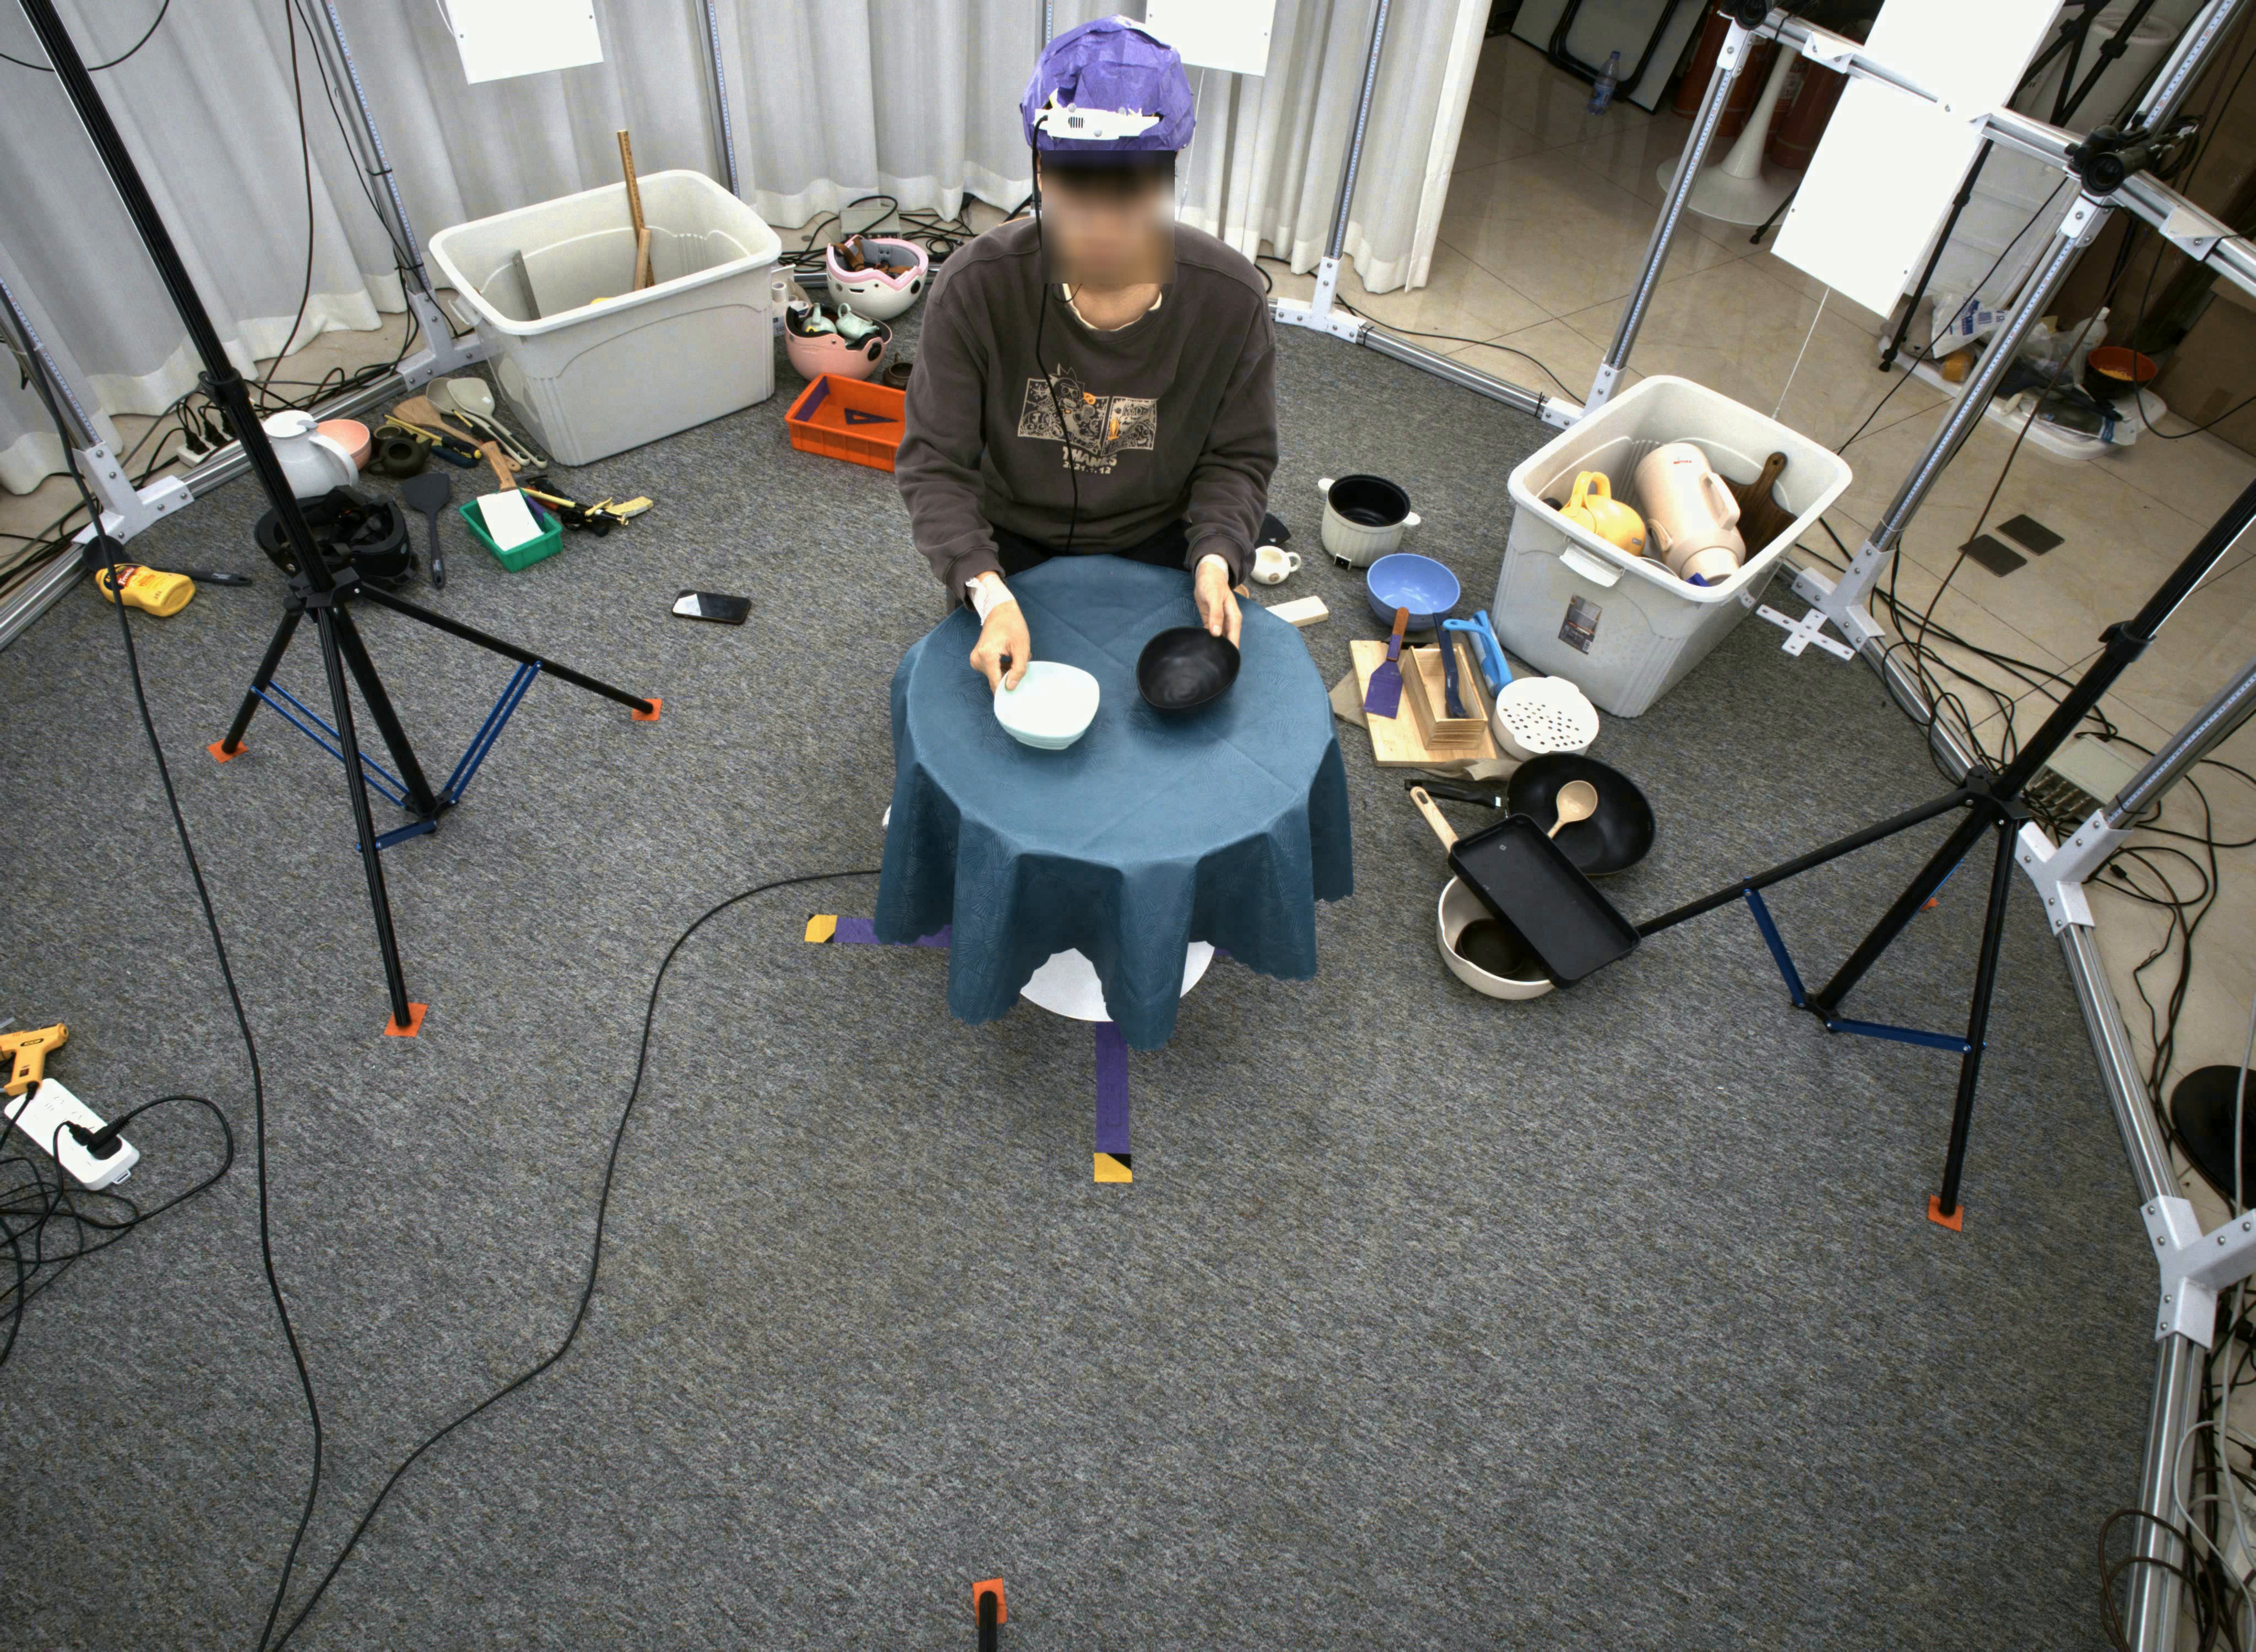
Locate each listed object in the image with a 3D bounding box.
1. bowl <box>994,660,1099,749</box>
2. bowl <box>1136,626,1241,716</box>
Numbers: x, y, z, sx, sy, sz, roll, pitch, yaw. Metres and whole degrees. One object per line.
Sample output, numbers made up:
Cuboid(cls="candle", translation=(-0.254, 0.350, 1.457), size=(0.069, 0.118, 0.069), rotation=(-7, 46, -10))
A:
Cuboid(cls="bowl", translation=(-0.112, -0.158, 1.758), size=(0.151, 0.057, 0.155), rotation=(2, 49, -3))
Cuboid(cls="bowl", translation=(0.083, -0.207, 1.810), size=(0.138, 0.065, 0.173), rotation=(28, 54, 19))
